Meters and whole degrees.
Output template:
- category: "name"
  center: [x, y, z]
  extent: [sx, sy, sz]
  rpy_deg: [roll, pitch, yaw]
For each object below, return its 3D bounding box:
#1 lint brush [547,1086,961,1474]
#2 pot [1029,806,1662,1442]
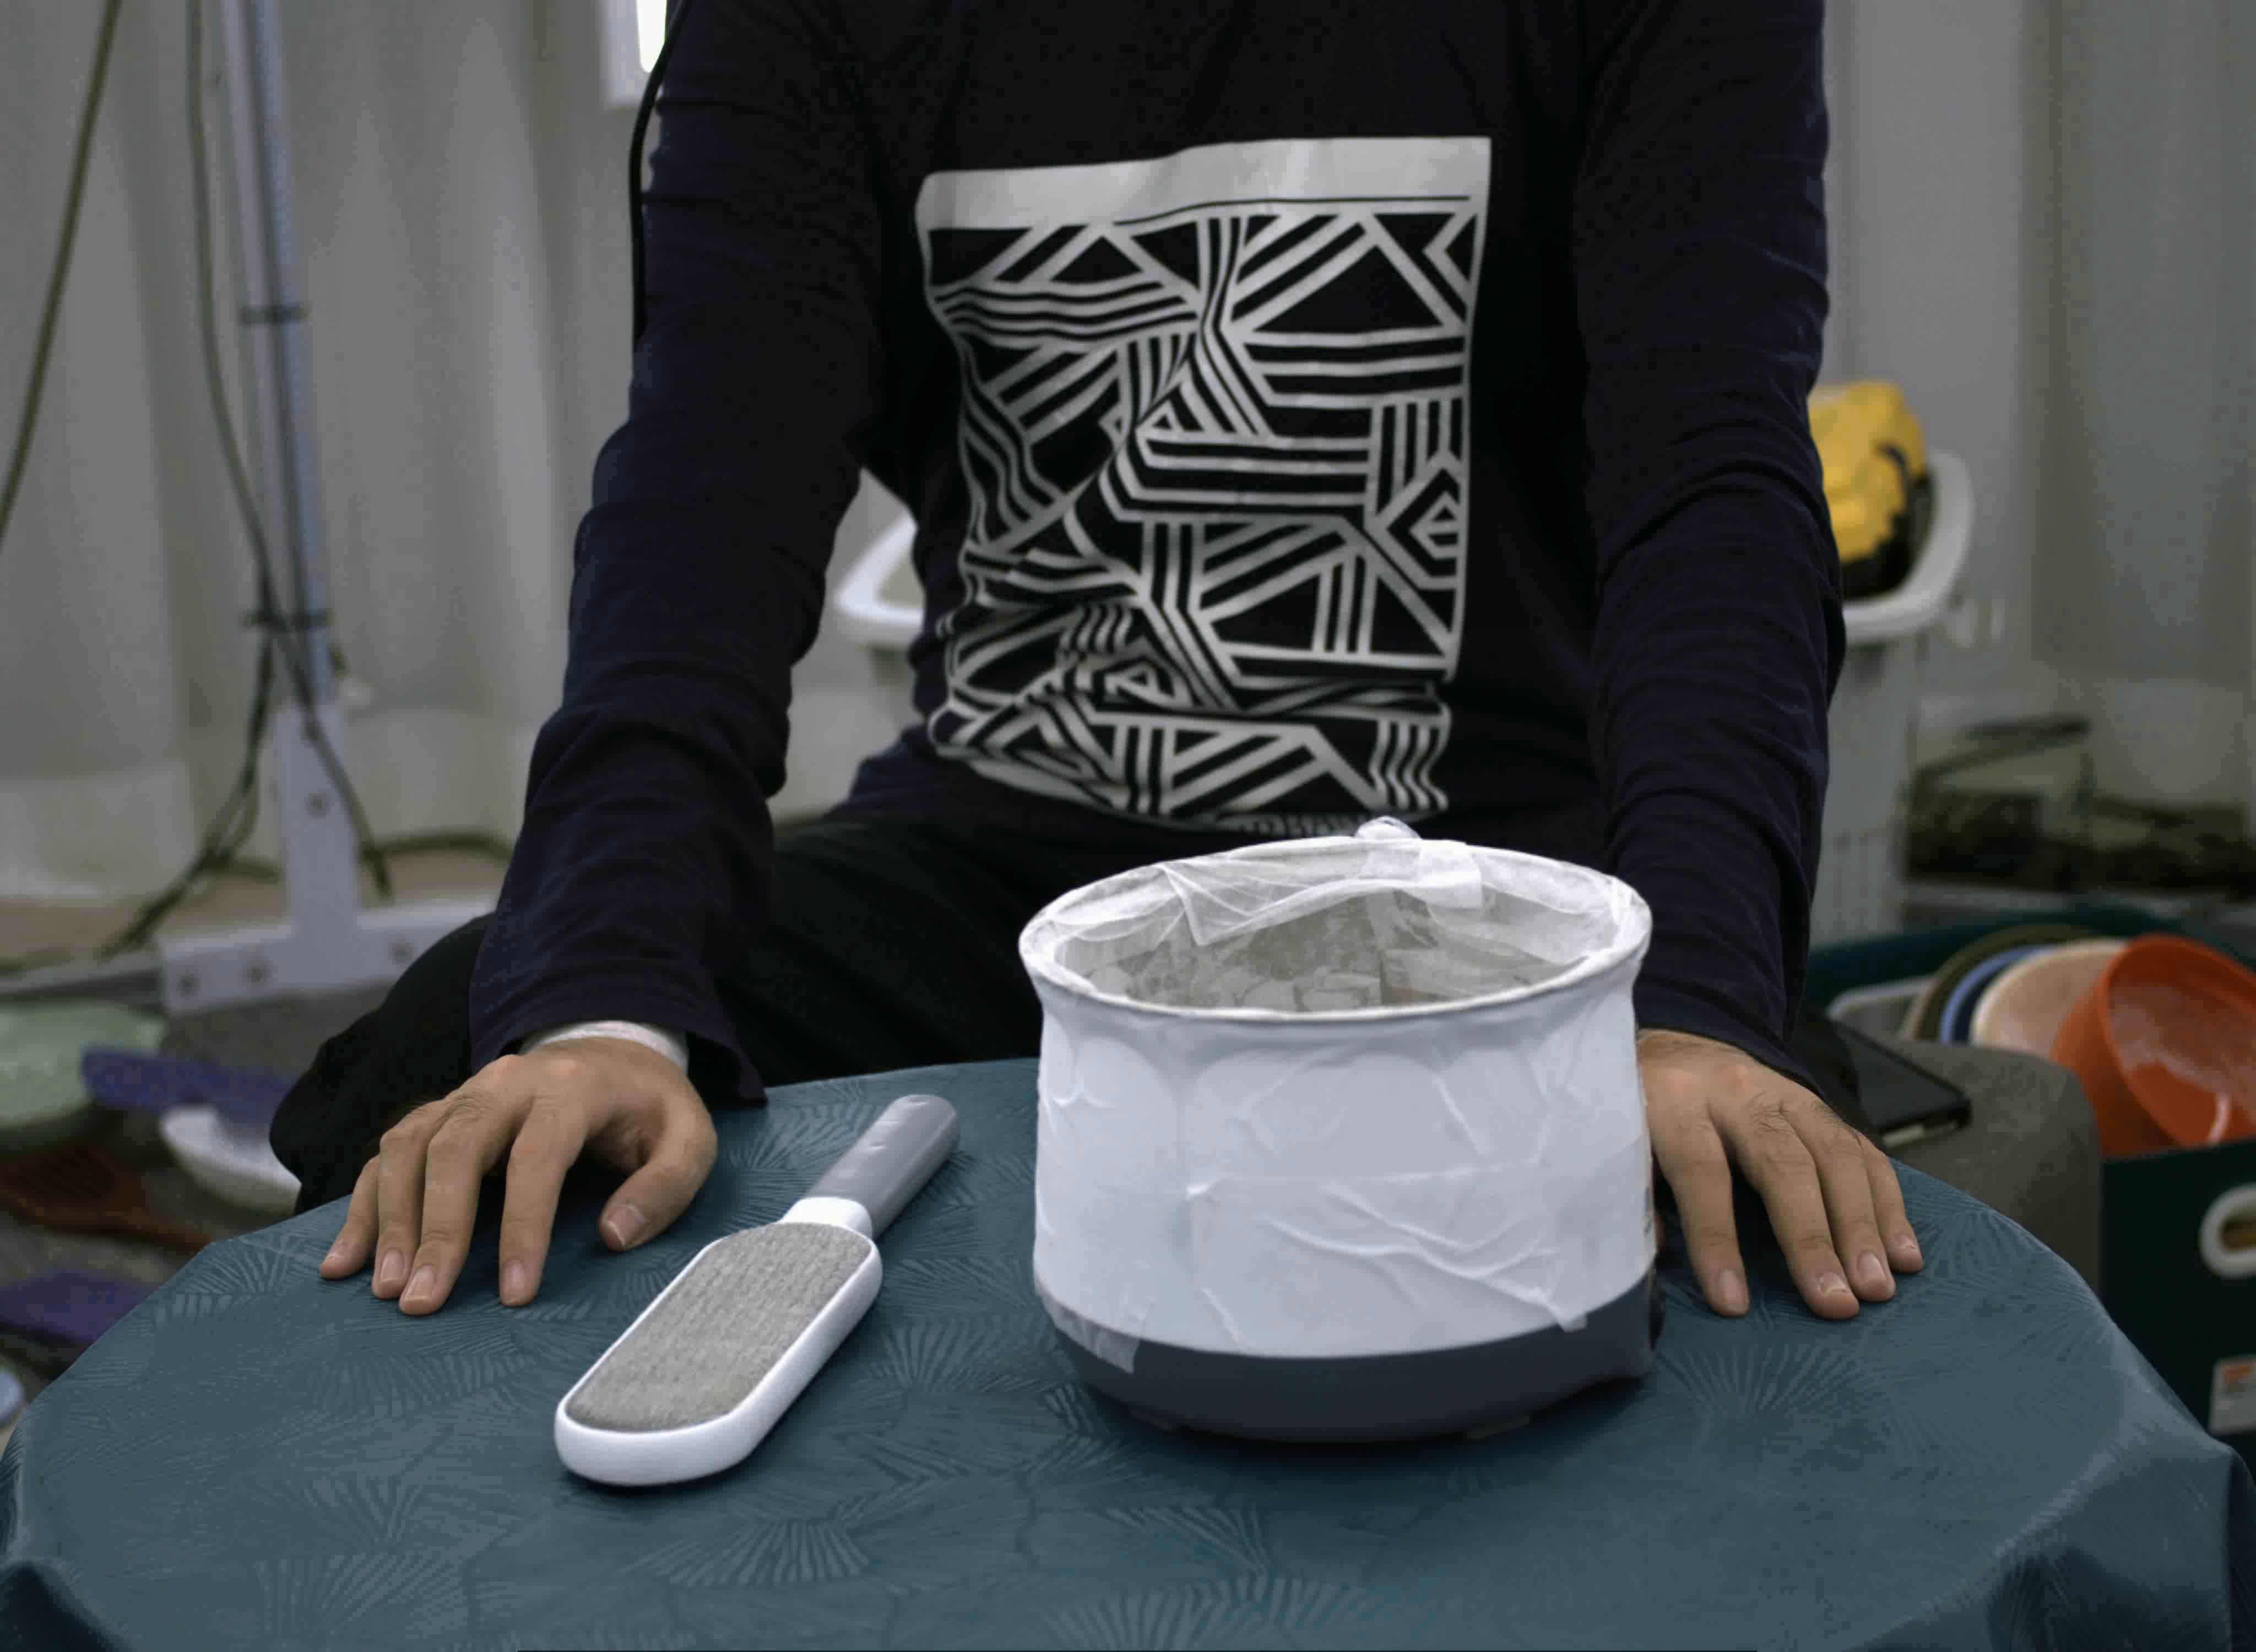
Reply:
- category: "lint brush"
  center: [-0.100, 0.131, 1.624]
  extent: [0.060, 0.021, 0.310]
  rpy_deg: [-5, 13, 16]
- category: "pot"
  center: [0.065, 0.079, 1.566]
  extent: [0.178, 0.136, 0.235]
  rpy_deg: [2, 15, 10]
